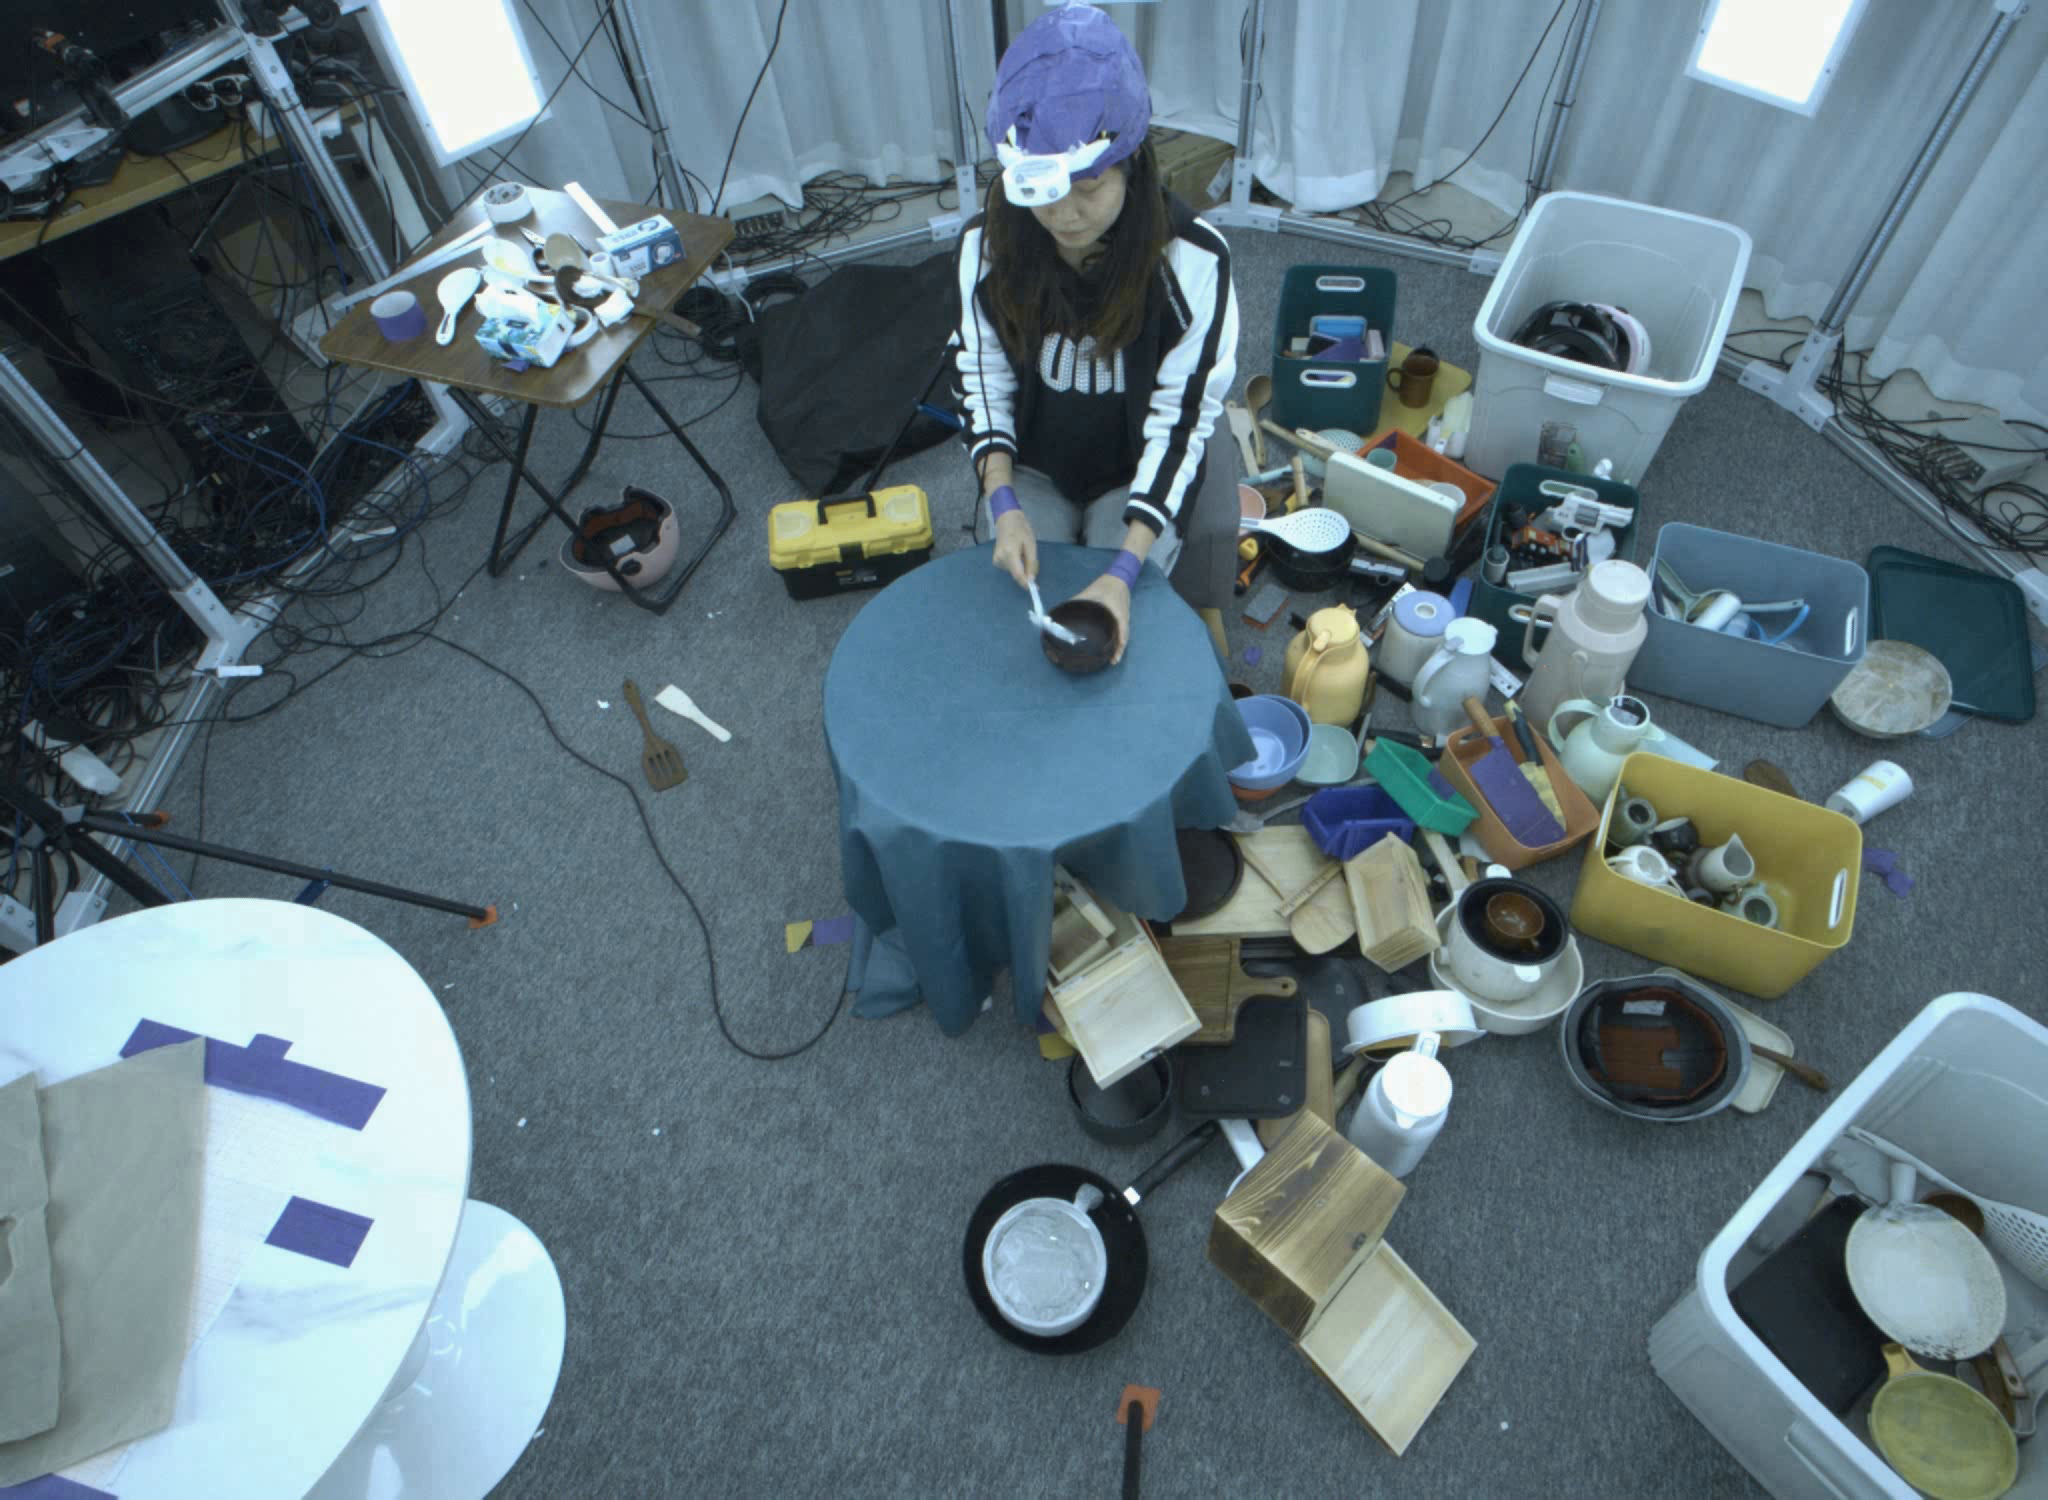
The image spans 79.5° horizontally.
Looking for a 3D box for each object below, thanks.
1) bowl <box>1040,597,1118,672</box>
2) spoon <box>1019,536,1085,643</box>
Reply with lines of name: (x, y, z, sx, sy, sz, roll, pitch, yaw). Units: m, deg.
bowl: (0.083, -0.166, 1.857, 0.118, 0.070, 0.117, -1, 55, 2)
spoon: (0.036, -0.253, 1.863, 0.059, 0.103, 0.273, -39, 41, 28)
